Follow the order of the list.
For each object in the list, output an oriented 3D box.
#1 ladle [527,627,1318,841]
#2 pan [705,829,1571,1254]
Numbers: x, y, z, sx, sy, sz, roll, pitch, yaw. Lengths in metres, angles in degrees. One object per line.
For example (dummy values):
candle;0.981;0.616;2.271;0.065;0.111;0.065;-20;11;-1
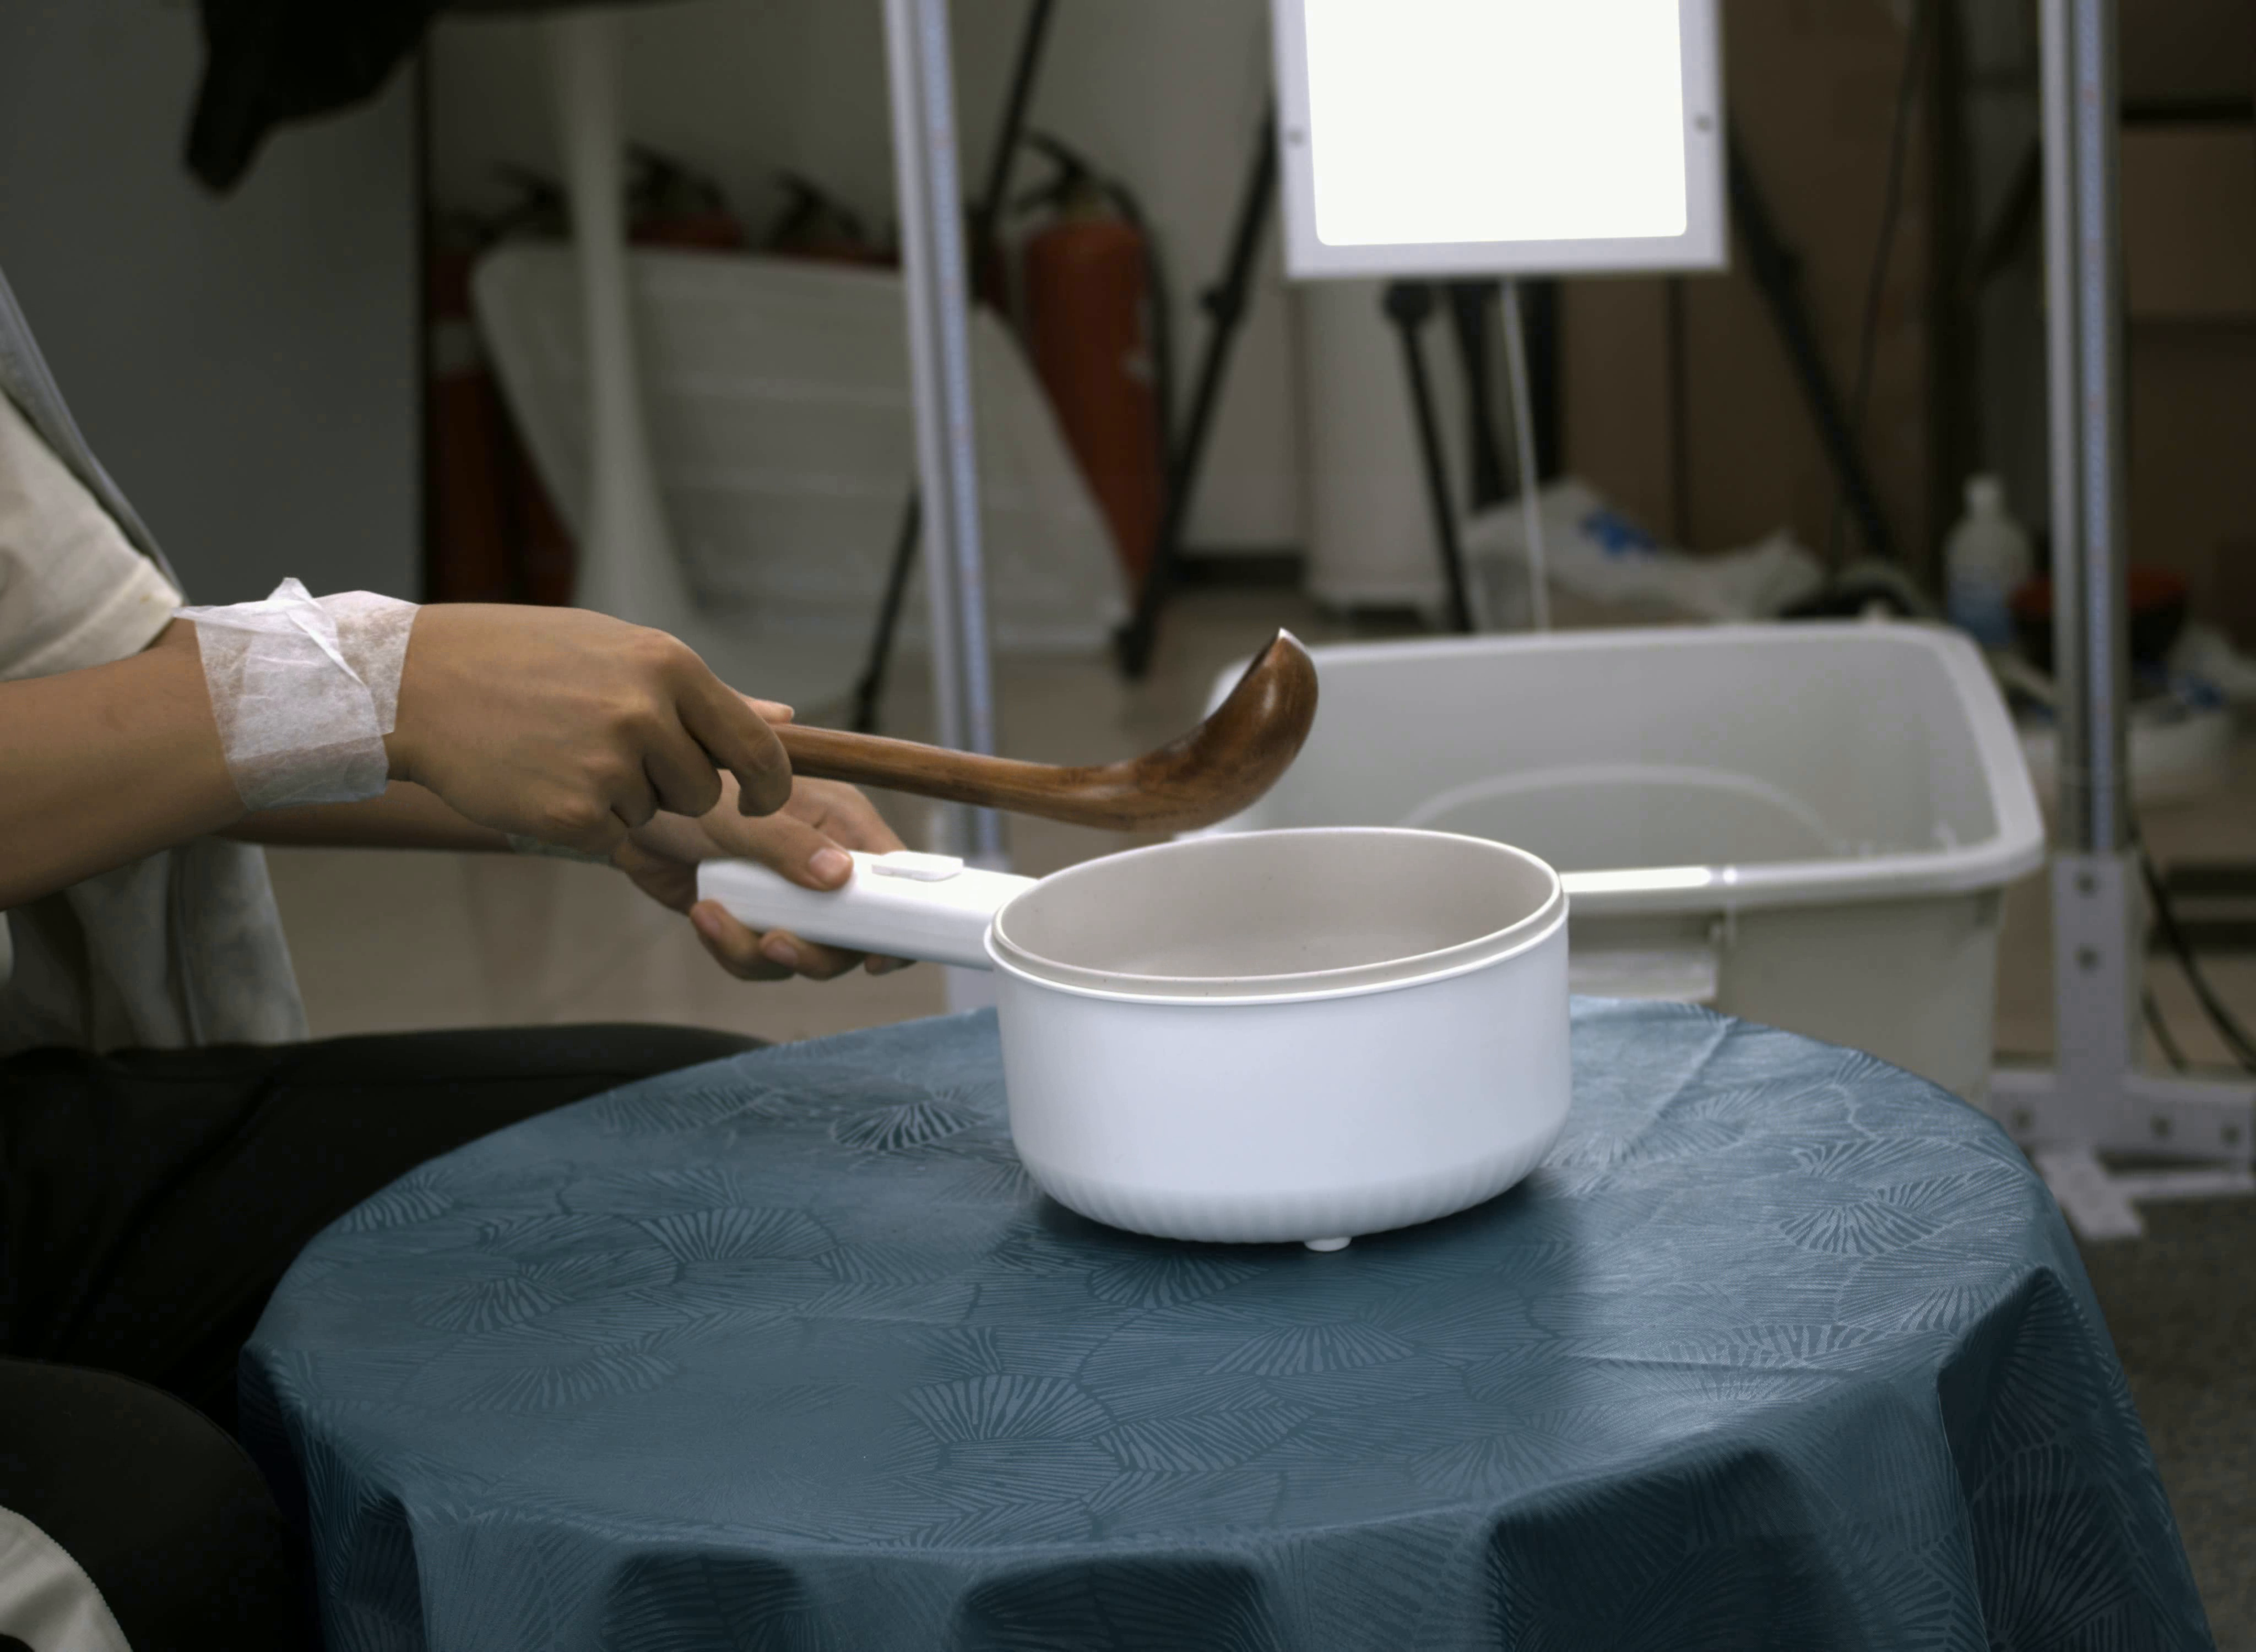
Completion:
ladle;-0.066;-0.039;1.841;0.270;0.083;0.076;5;53;-14
pan;-0.006;0.068;1.930;0.362;0.102;0.196;6;18;40
